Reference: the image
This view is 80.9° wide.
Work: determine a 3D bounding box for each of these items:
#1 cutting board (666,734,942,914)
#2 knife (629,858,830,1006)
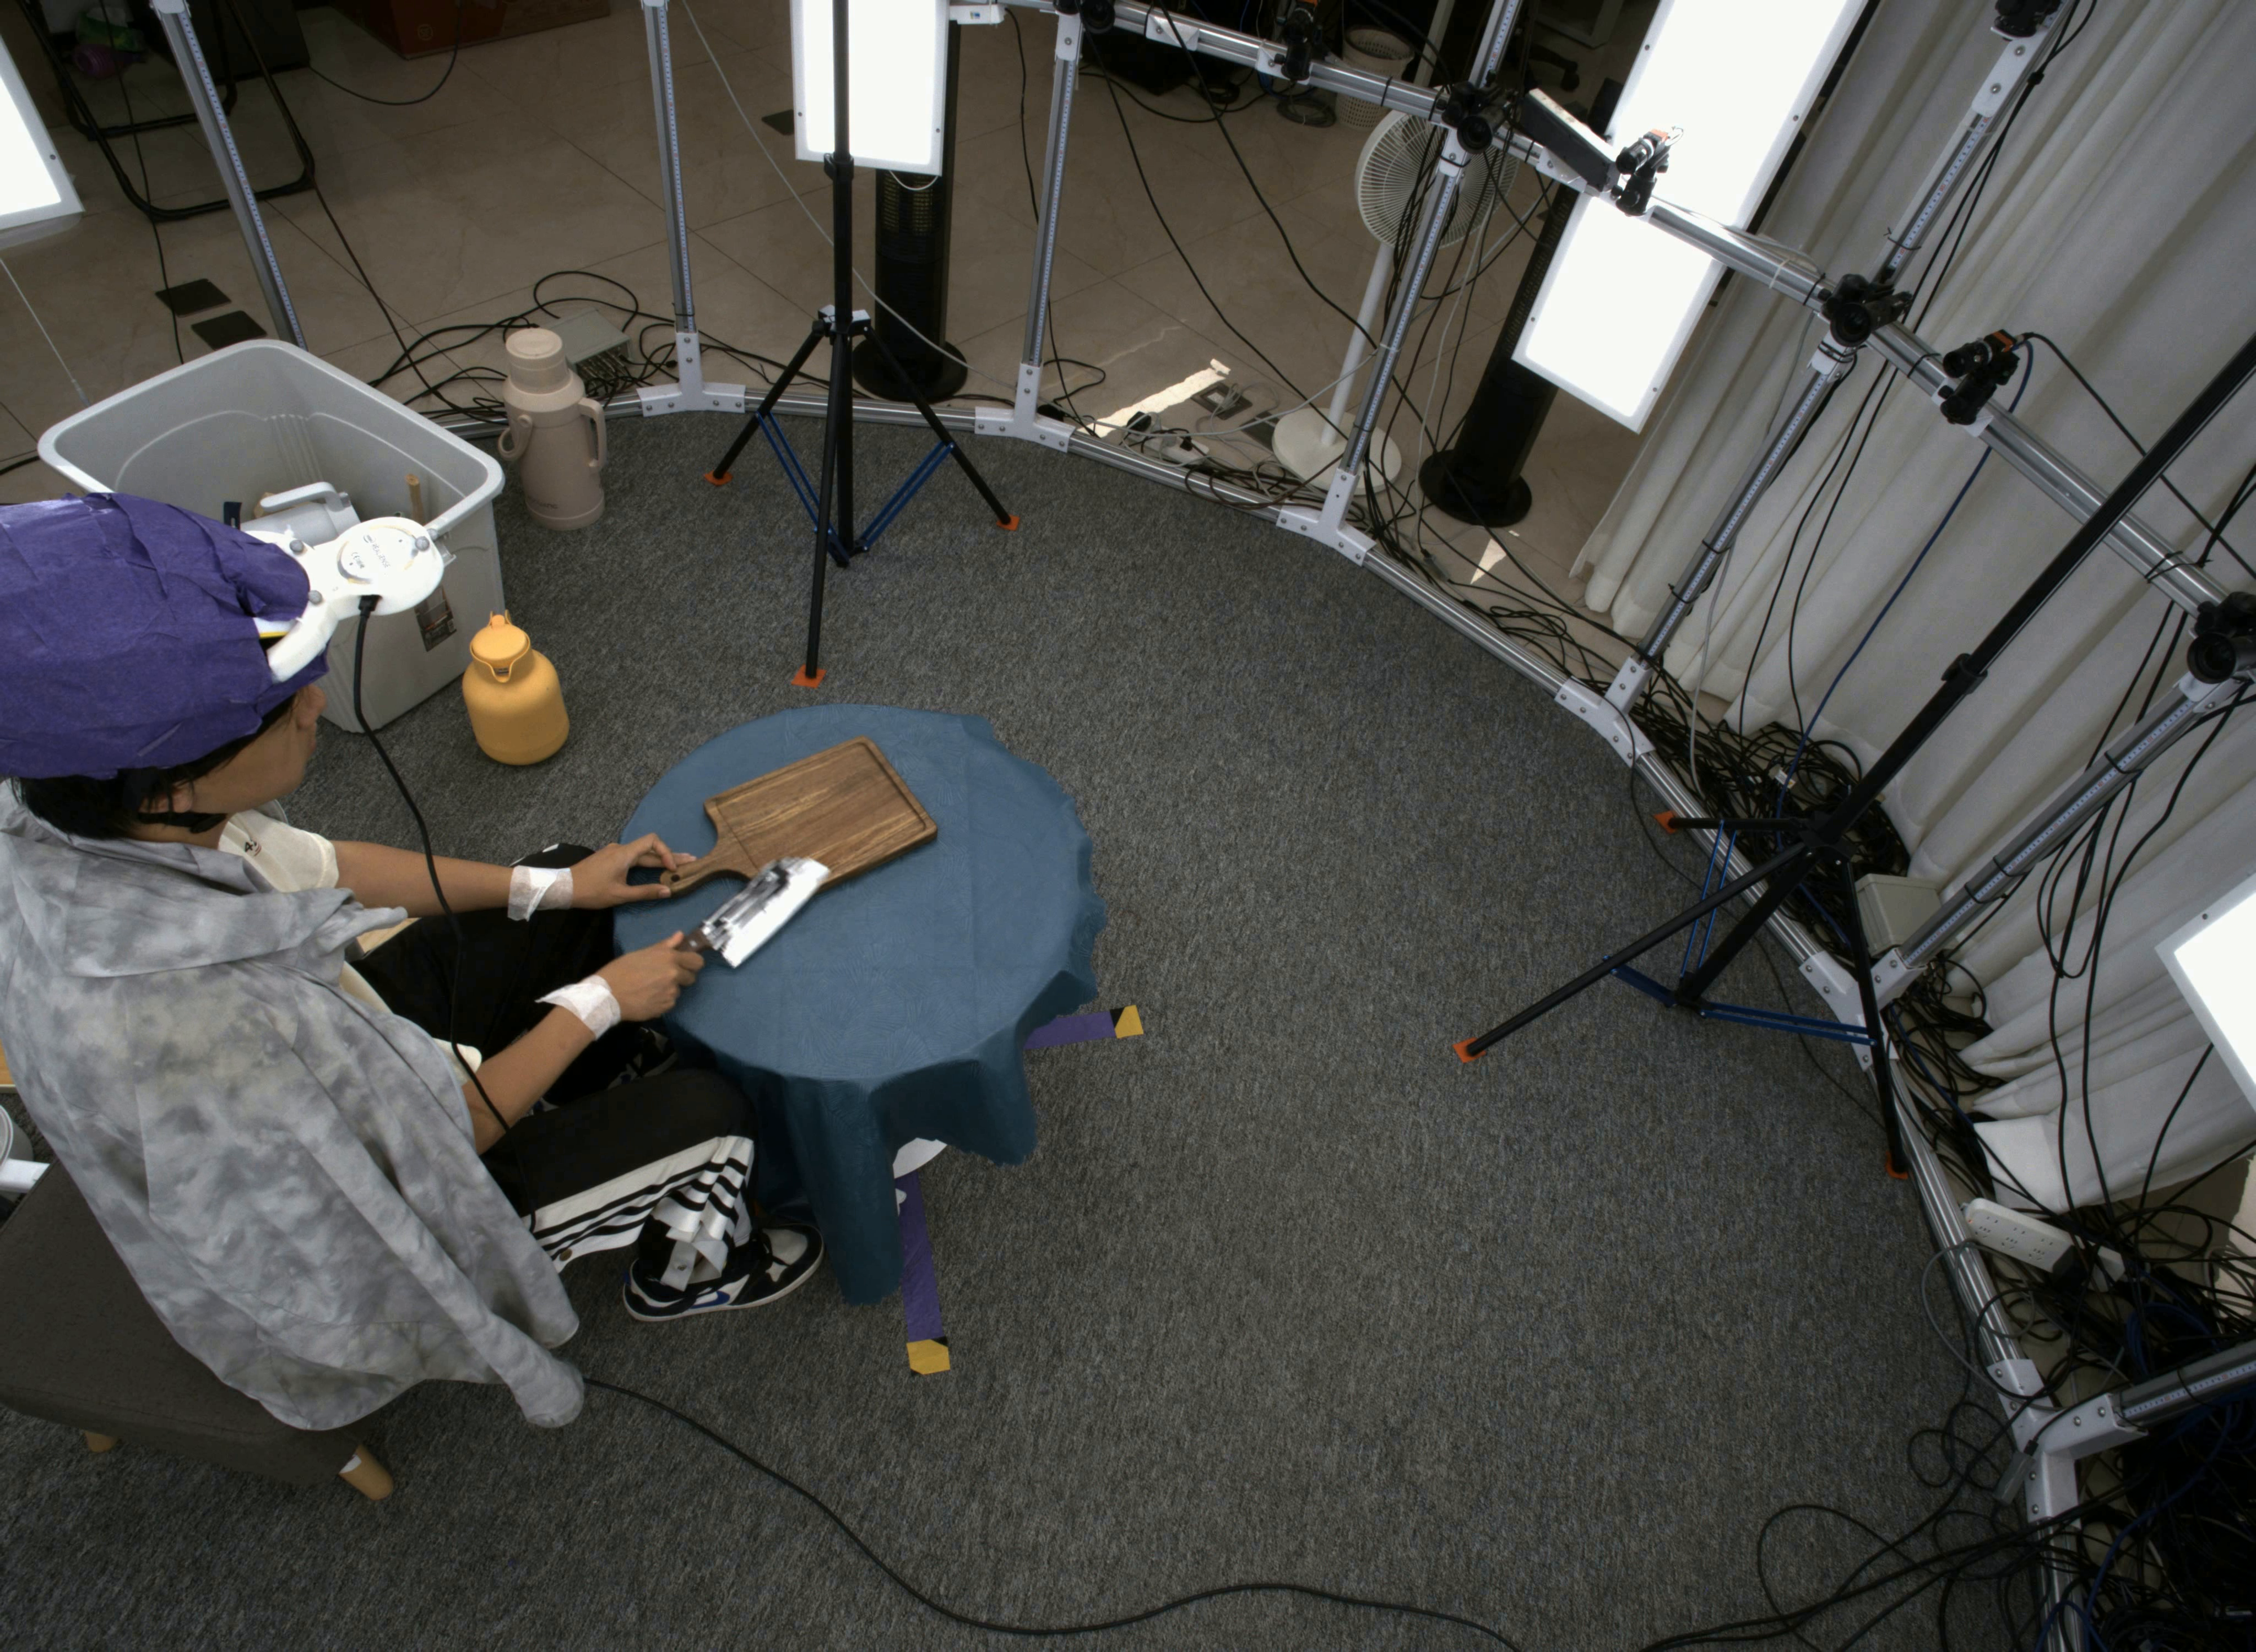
[{"bbox_3d":[-0.441,0.010,1.701,0.353,0.023,0.196,-27,65,-29],"label":"cutting board"},{"bbox_3d":[-0.483,0.128,1.582,0.069,0.024,0.299,48,56,-7],"label":"knife"}]
